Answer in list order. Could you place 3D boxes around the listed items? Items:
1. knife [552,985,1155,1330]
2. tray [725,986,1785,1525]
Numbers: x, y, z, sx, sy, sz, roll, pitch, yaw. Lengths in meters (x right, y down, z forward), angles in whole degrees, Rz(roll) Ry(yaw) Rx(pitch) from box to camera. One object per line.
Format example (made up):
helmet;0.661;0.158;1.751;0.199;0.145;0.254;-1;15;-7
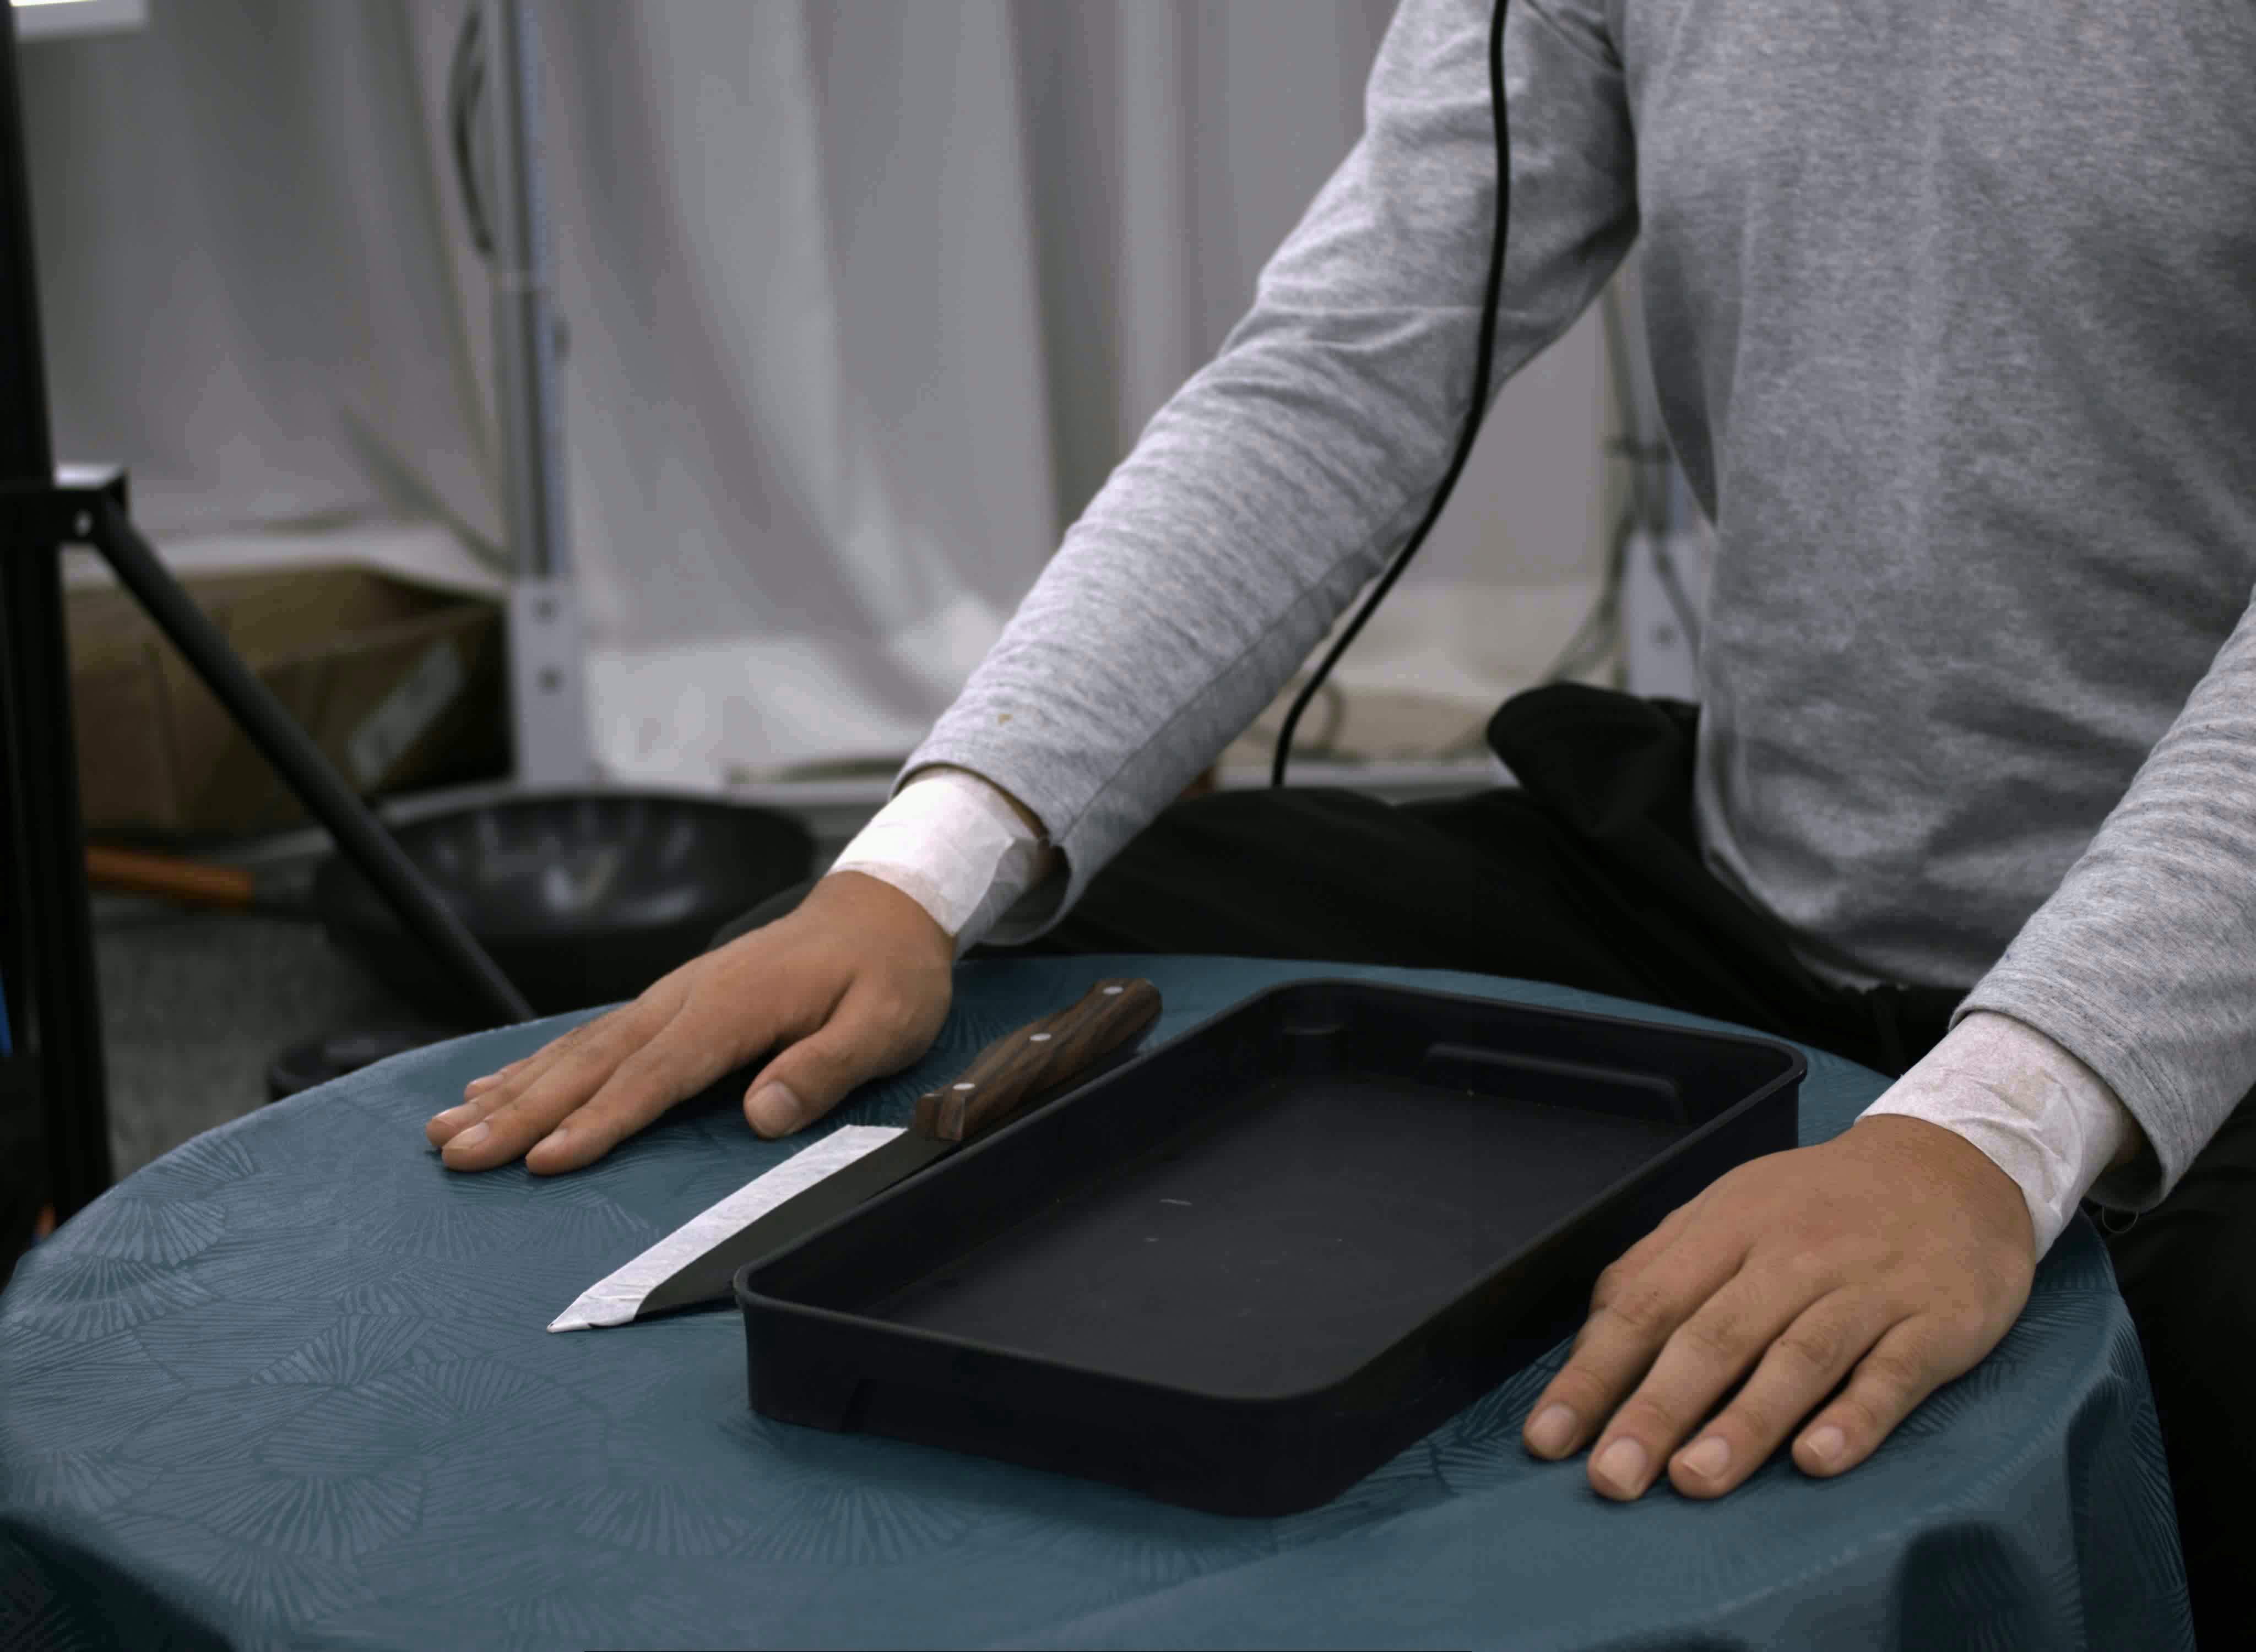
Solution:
knife;-0.076;0.099;1.580;0.051;0.020;0.283;2;18;35
tray;0.043;0.112;1.478;0.187;0.037;0.312;7;18;30
